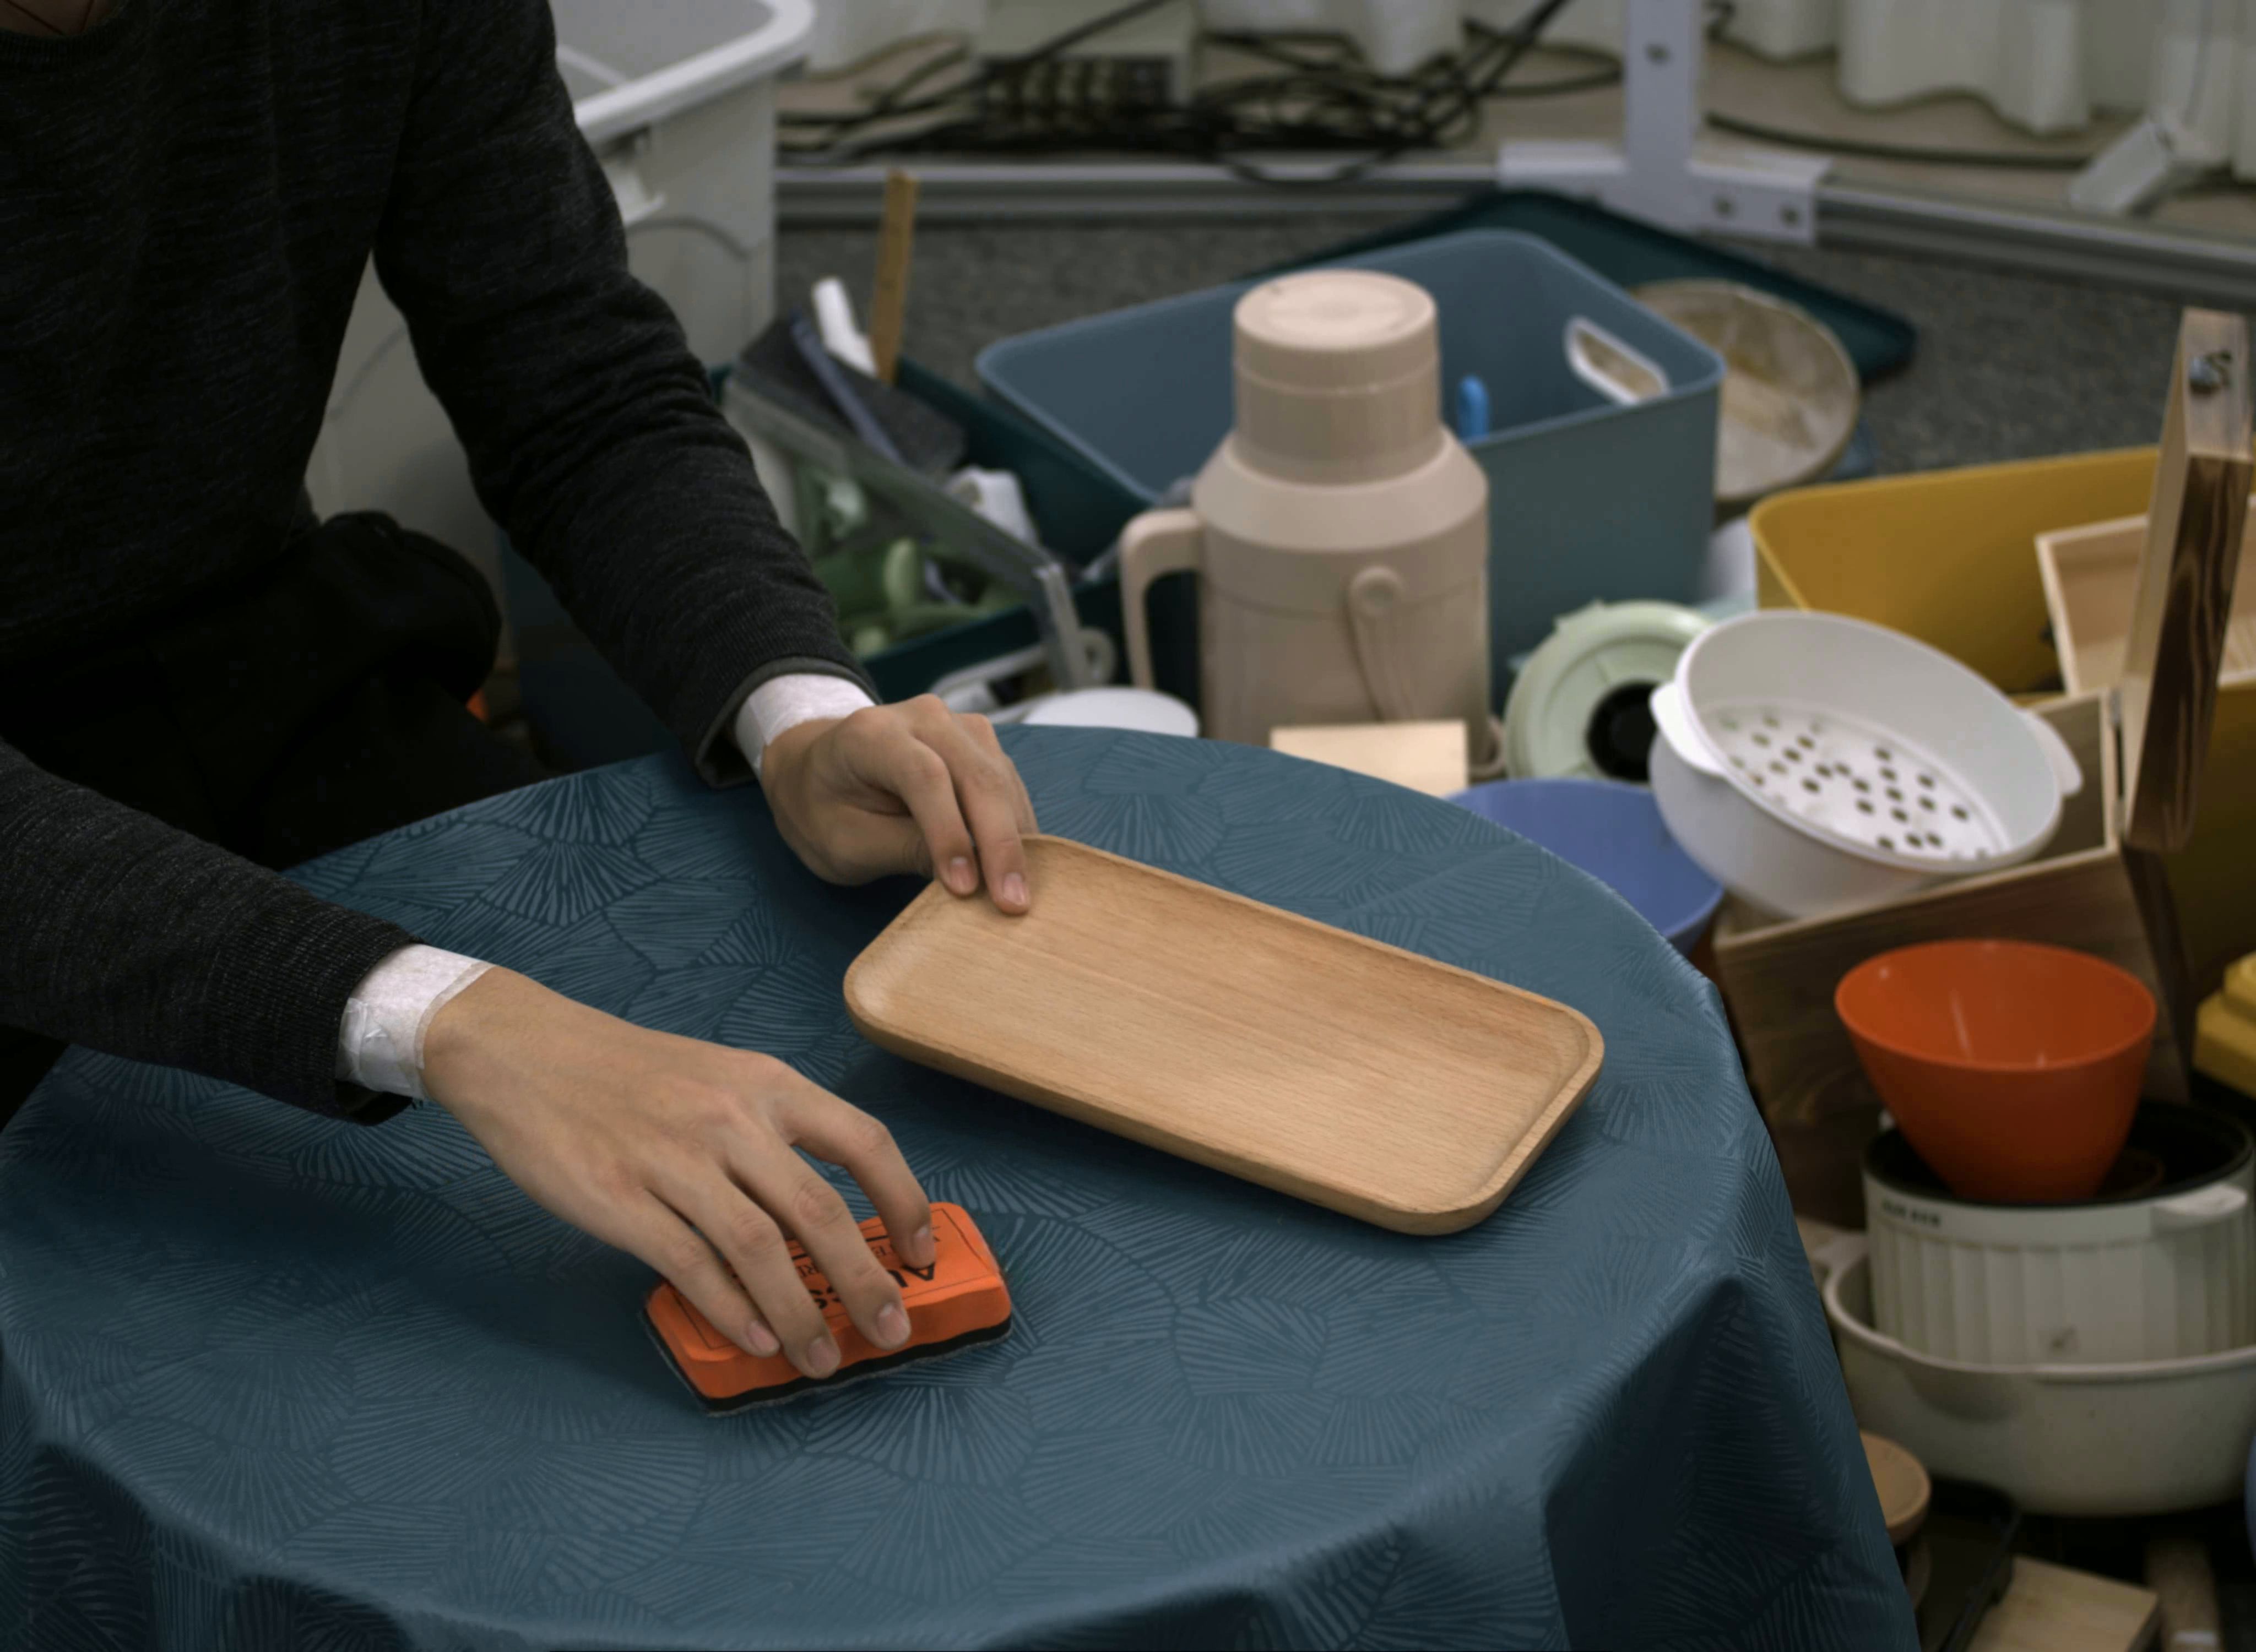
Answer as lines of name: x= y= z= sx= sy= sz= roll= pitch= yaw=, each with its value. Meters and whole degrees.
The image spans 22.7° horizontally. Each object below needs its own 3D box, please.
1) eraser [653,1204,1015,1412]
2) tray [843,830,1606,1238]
eraser: x=-0.094 y=0.153 z=1.784 sx=0.108 sy=0.022 sz=0.059 roll=-13 pitch=27 yaw=-18
tray: x=0.032 y=0.069 z=1.906 sx=0.250 sy=0.022 sz=0.133 roll=18 pitch=36 yaw=25
